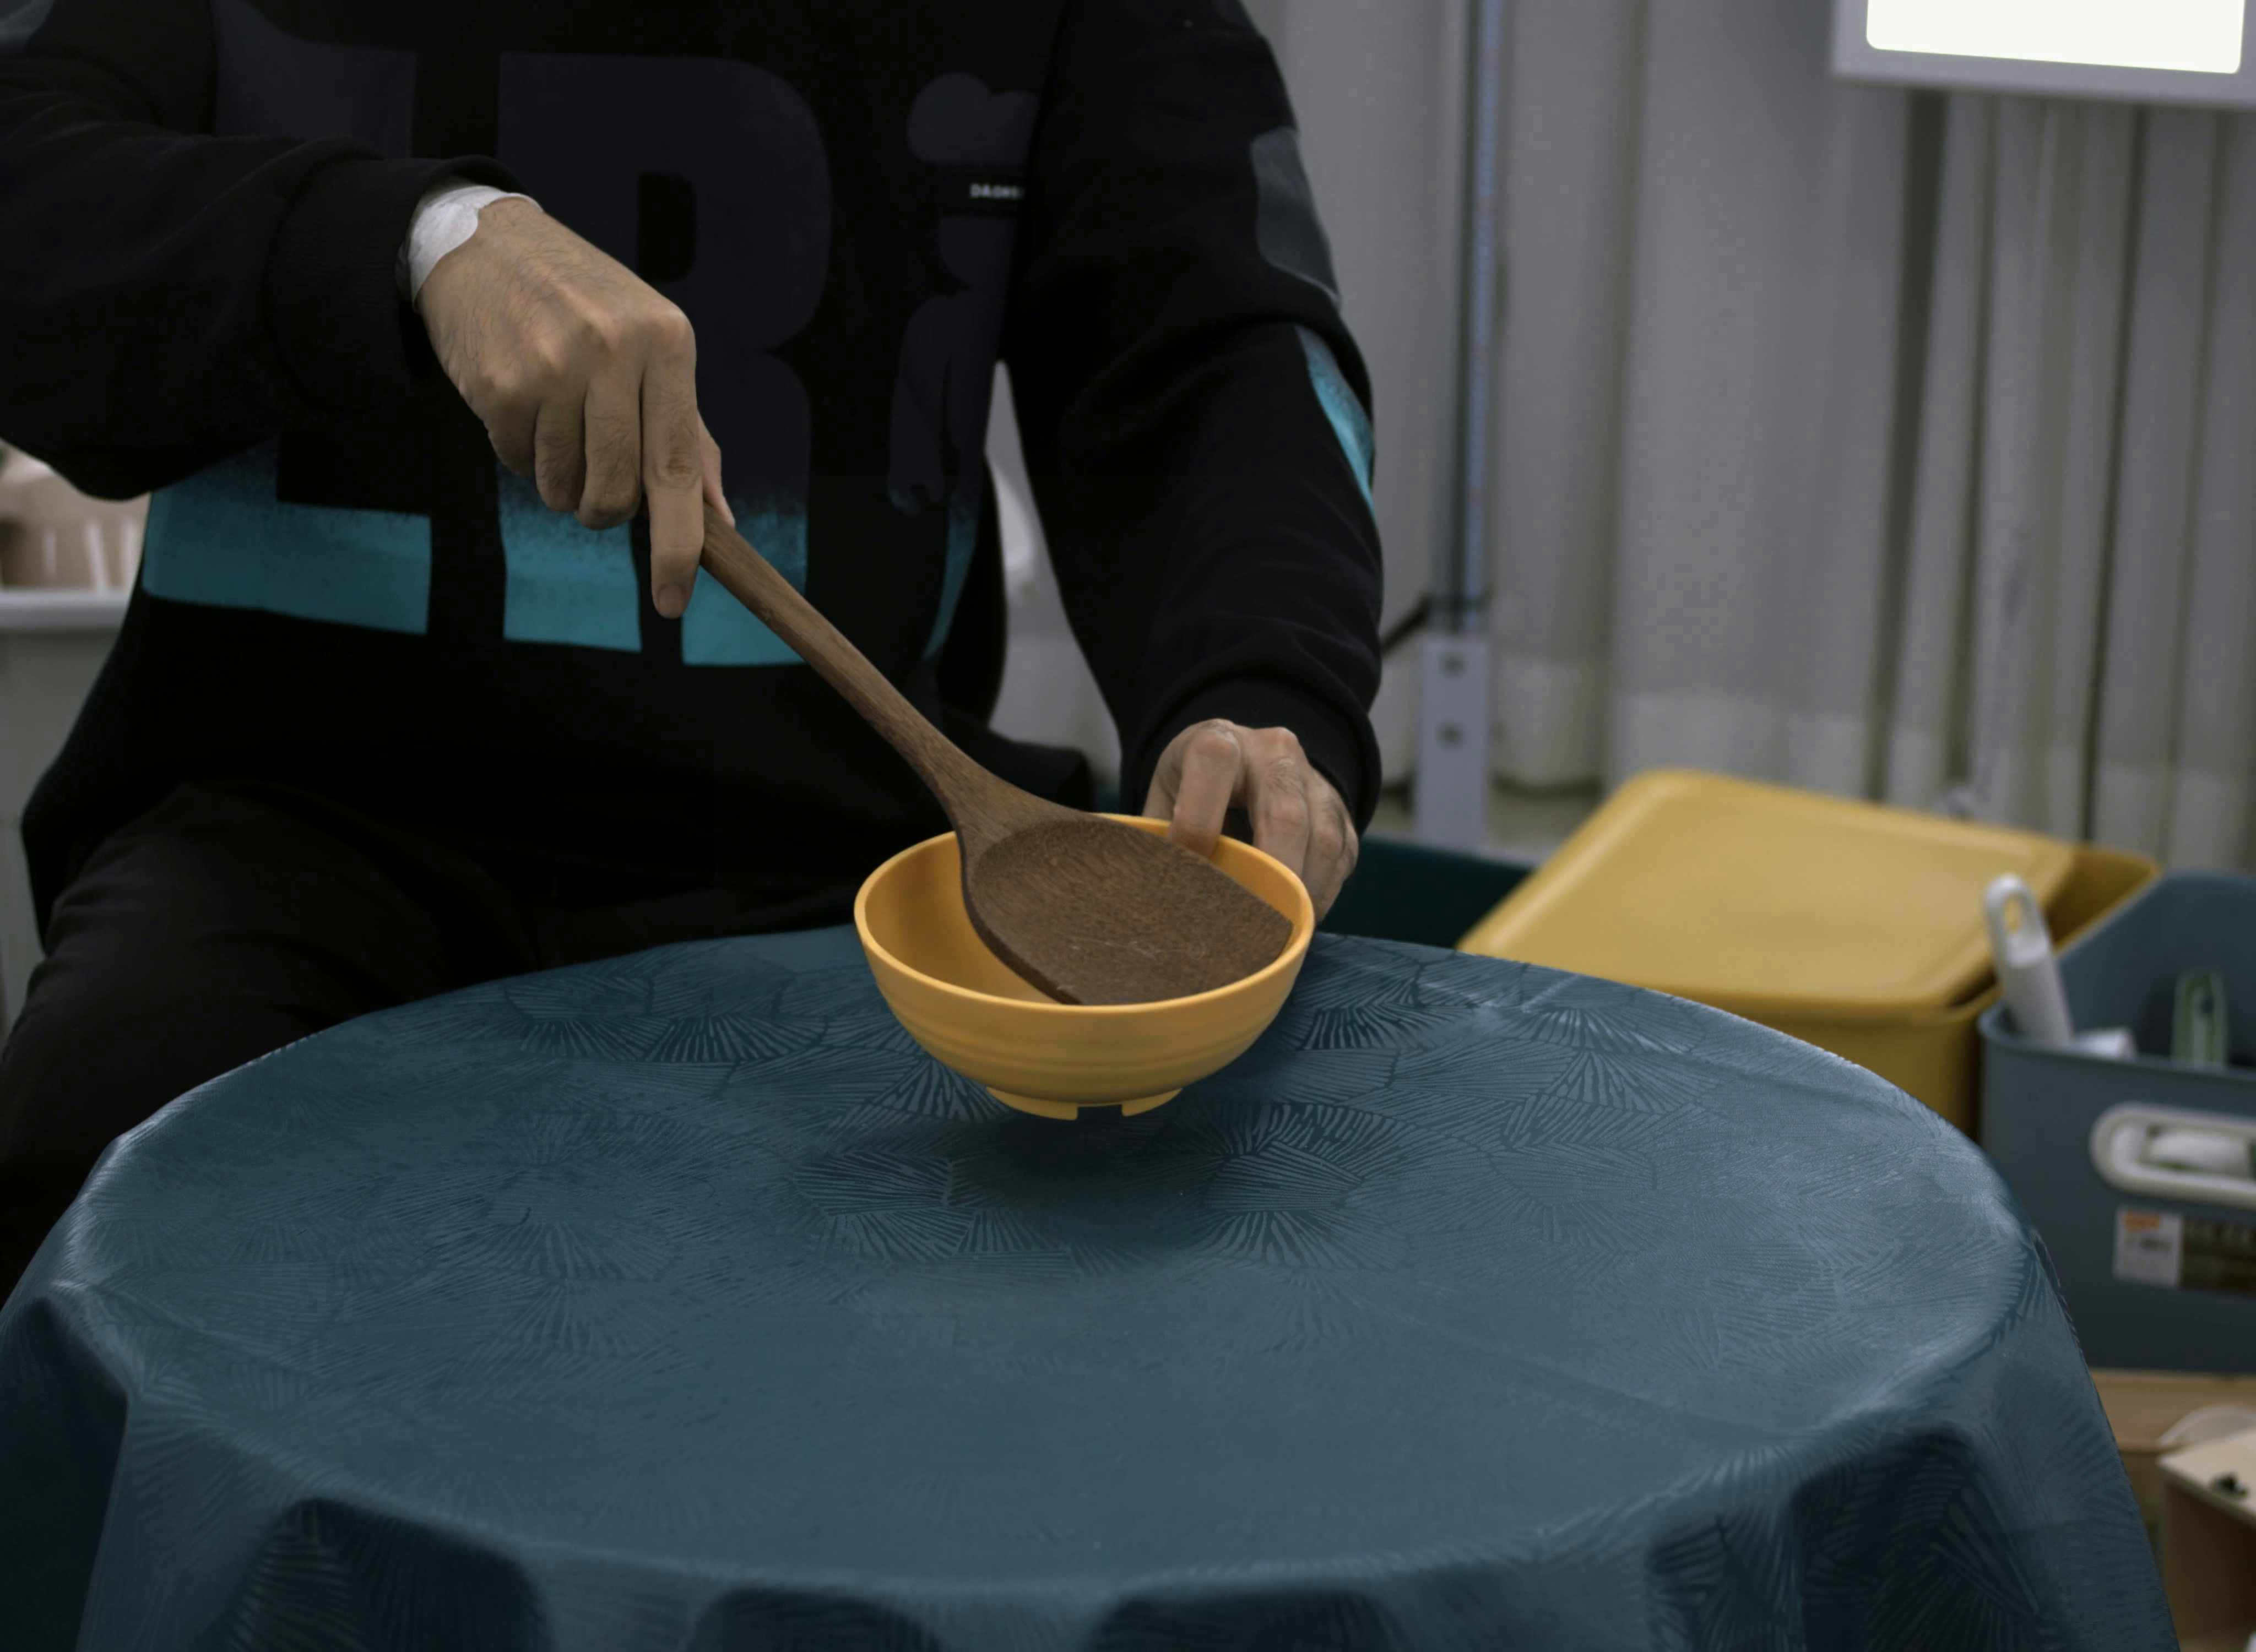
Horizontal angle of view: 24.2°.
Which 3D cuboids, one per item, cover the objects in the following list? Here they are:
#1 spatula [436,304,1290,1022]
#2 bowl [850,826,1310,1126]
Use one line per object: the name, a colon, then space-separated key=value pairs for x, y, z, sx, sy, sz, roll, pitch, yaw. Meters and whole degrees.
spatula: x=-0.101 y=-0.061 z=1.692 sx=0.096 sy=0.016 sz=0.382 roll=-23 pitch=56 yaw=-42
bowl: x=-0.016 y=0.054 z=1.658 sx=0.145 sy=0.060 sz=0.144 roll=4 pitch=23 yaw=-1
